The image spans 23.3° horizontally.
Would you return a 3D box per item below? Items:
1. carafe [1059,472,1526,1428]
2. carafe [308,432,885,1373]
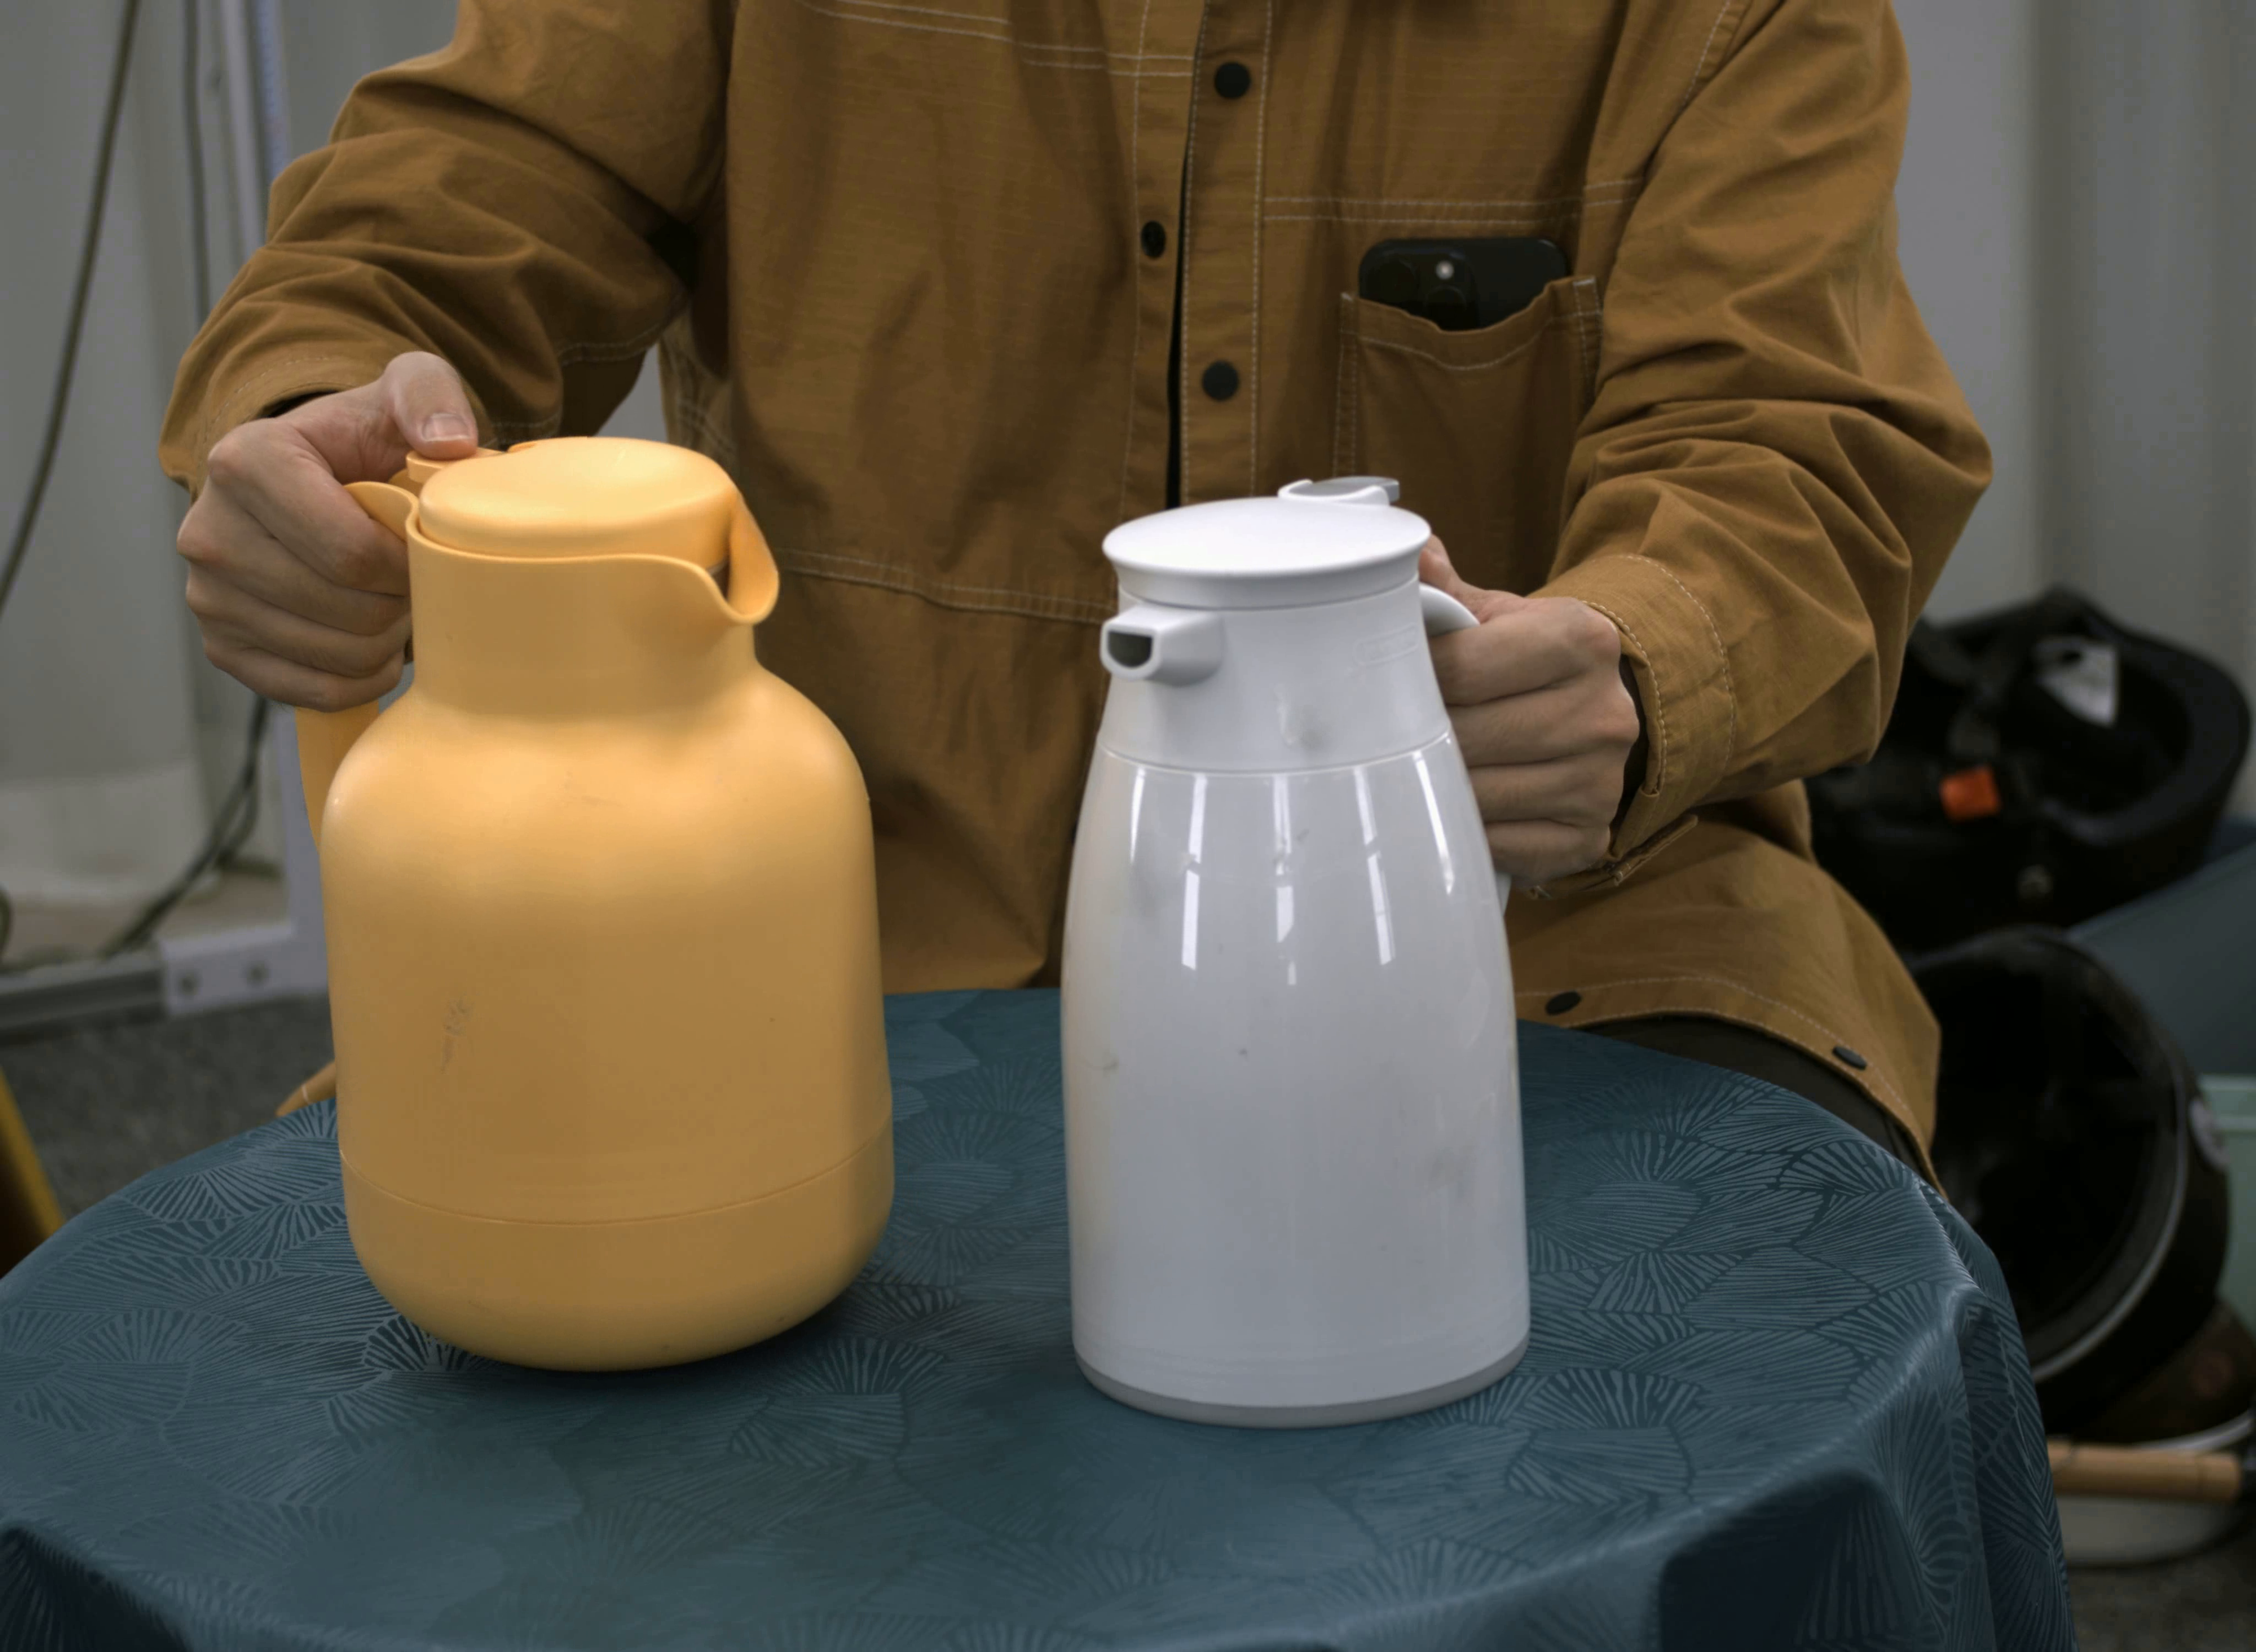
[{"bbox_3d":[0.055,0.026,1.558,0.133,0.248,0.167,8,17,38],"label":"carafe"},{"bbox_3d":[-0.166,0.013,1.606,0.163,0.259,0.204,-16,24,-41],"label":"carafe"}]
